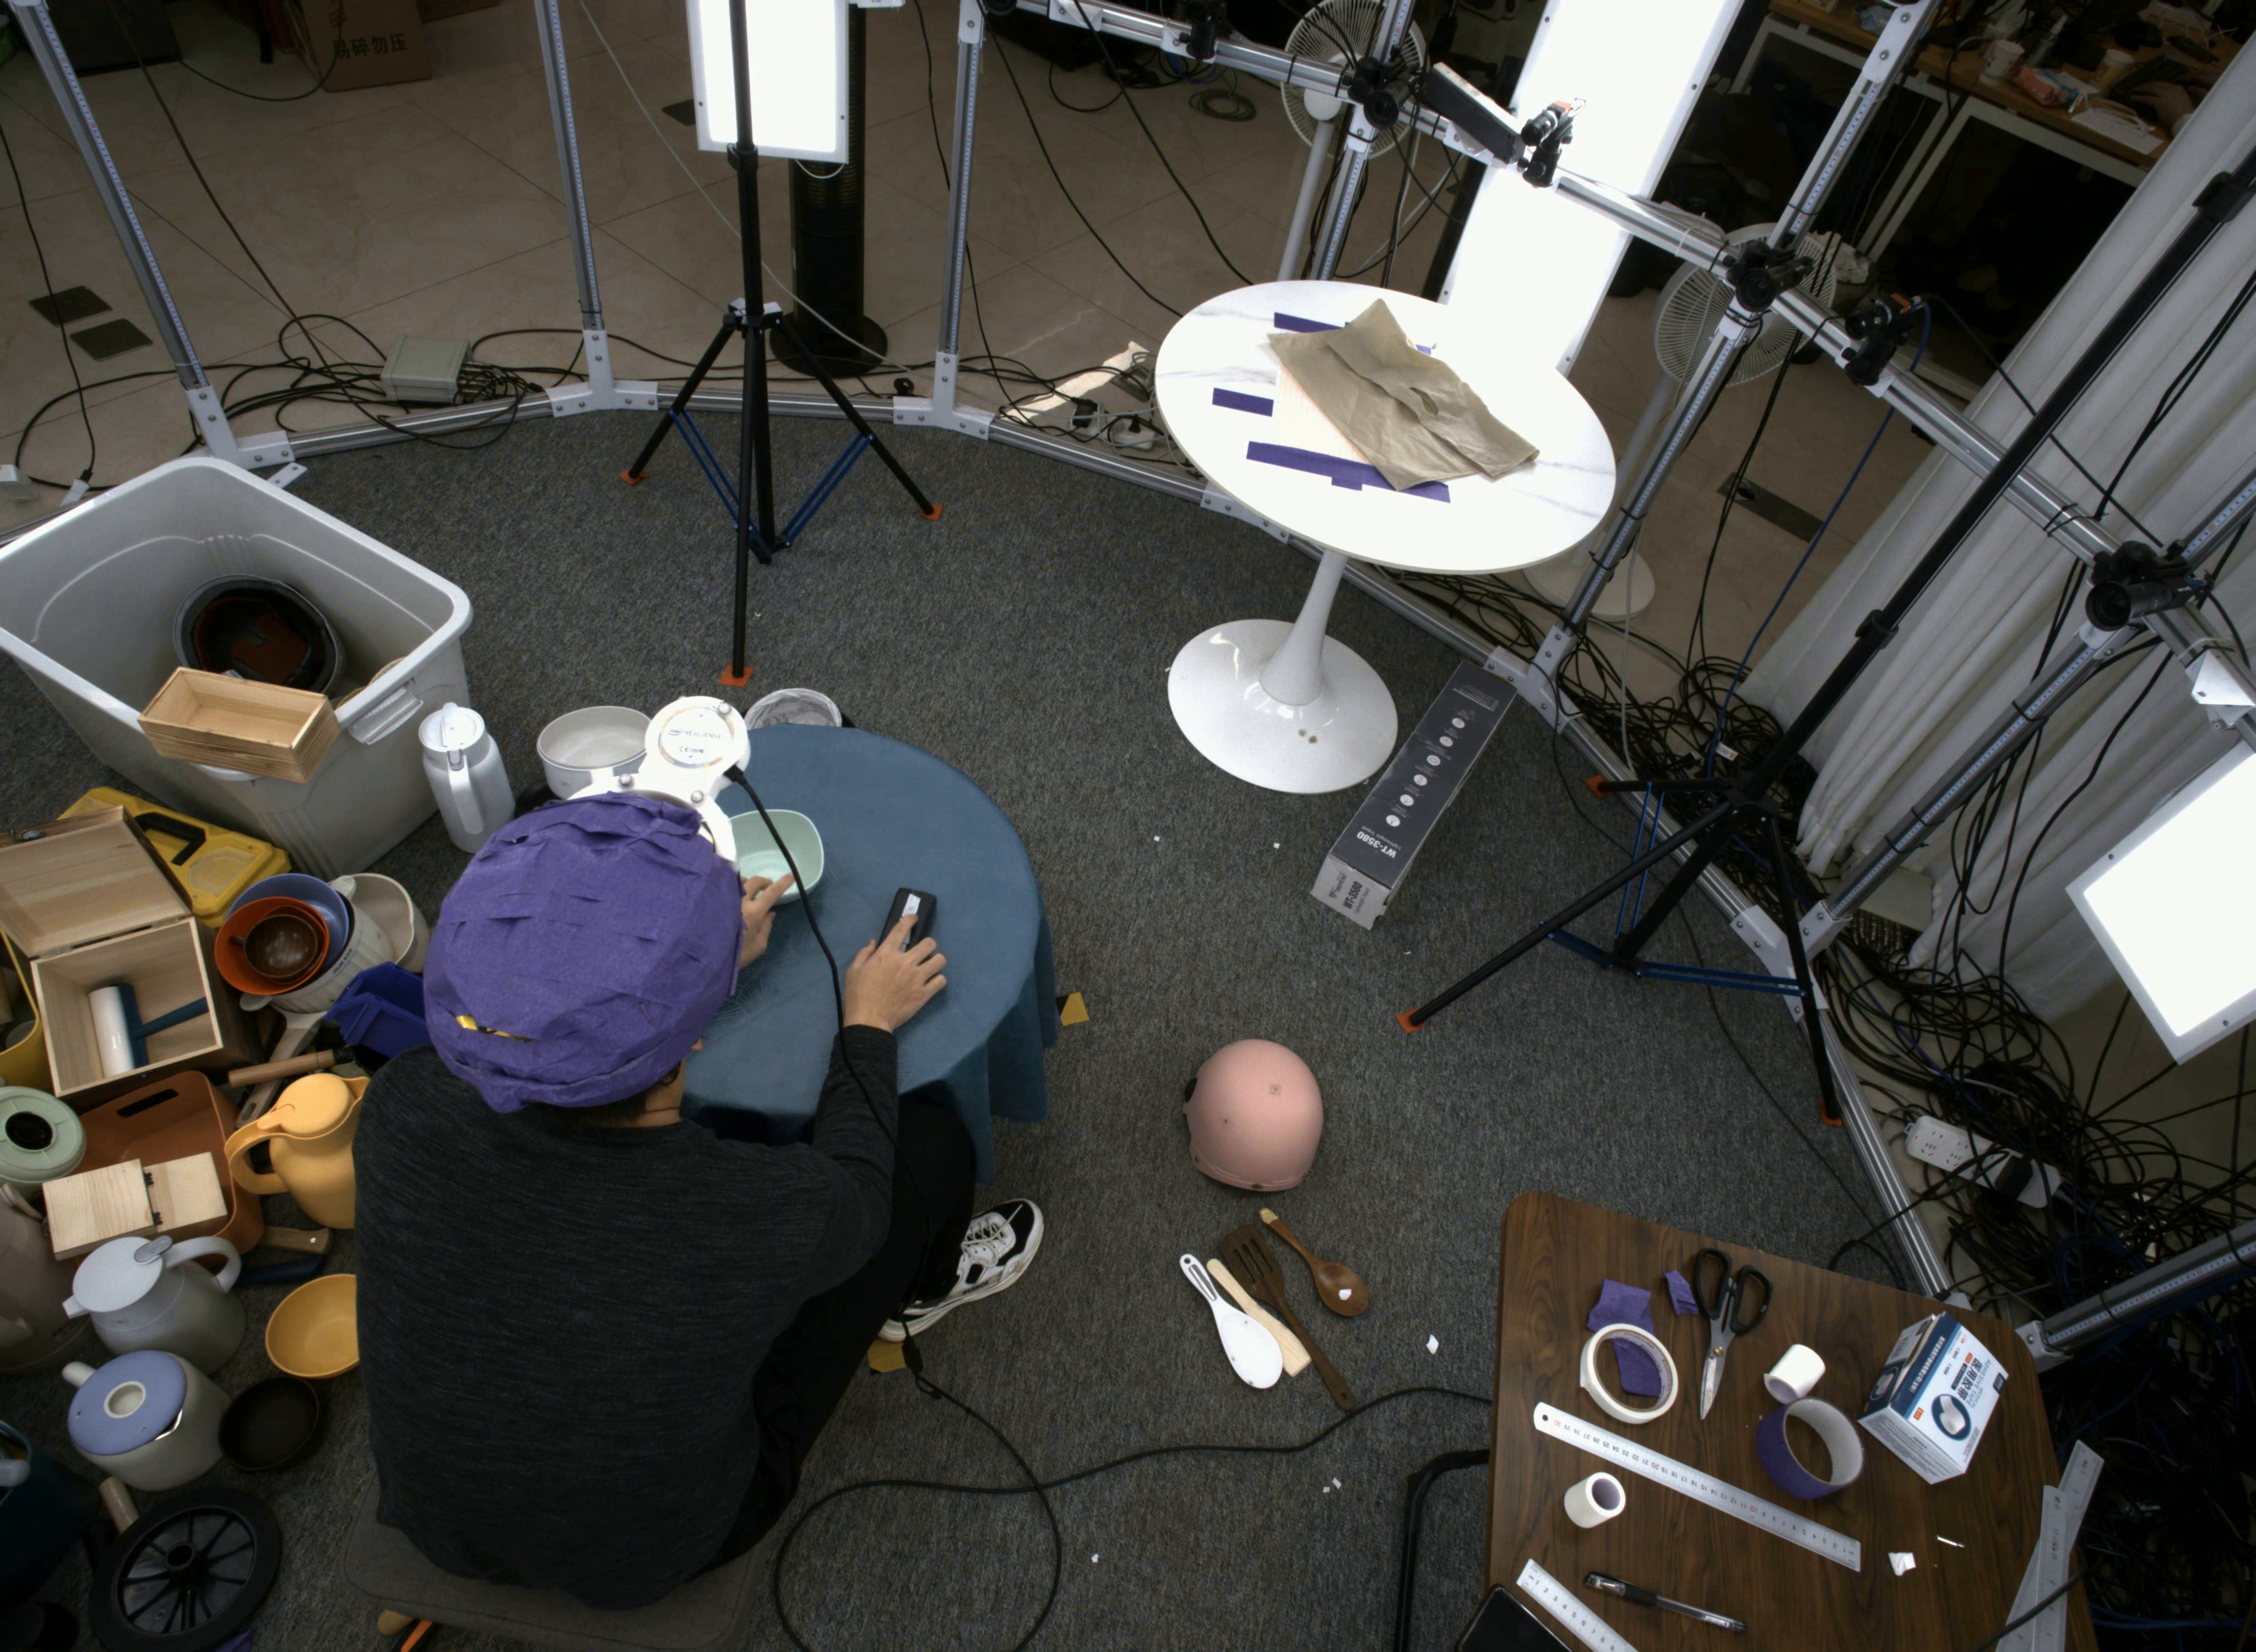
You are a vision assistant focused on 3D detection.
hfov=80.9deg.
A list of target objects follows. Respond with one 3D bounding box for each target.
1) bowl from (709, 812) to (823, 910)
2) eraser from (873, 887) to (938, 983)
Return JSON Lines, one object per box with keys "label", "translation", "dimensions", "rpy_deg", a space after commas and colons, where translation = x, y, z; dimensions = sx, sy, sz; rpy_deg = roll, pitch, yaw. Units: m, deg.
{"label": "bowl", "translation": [-0.456, 0.052, 1.636], "dimensions": [0.151, 0.060, 0.148], "rpy_deg": [8, 50, -8]}
{"label": "eraser", "translation": [-0.280, 0.134, 1.638], "dimensions": [0.053, 0.031, 0.124], "rpy_deg": [12, 52, -1]}
